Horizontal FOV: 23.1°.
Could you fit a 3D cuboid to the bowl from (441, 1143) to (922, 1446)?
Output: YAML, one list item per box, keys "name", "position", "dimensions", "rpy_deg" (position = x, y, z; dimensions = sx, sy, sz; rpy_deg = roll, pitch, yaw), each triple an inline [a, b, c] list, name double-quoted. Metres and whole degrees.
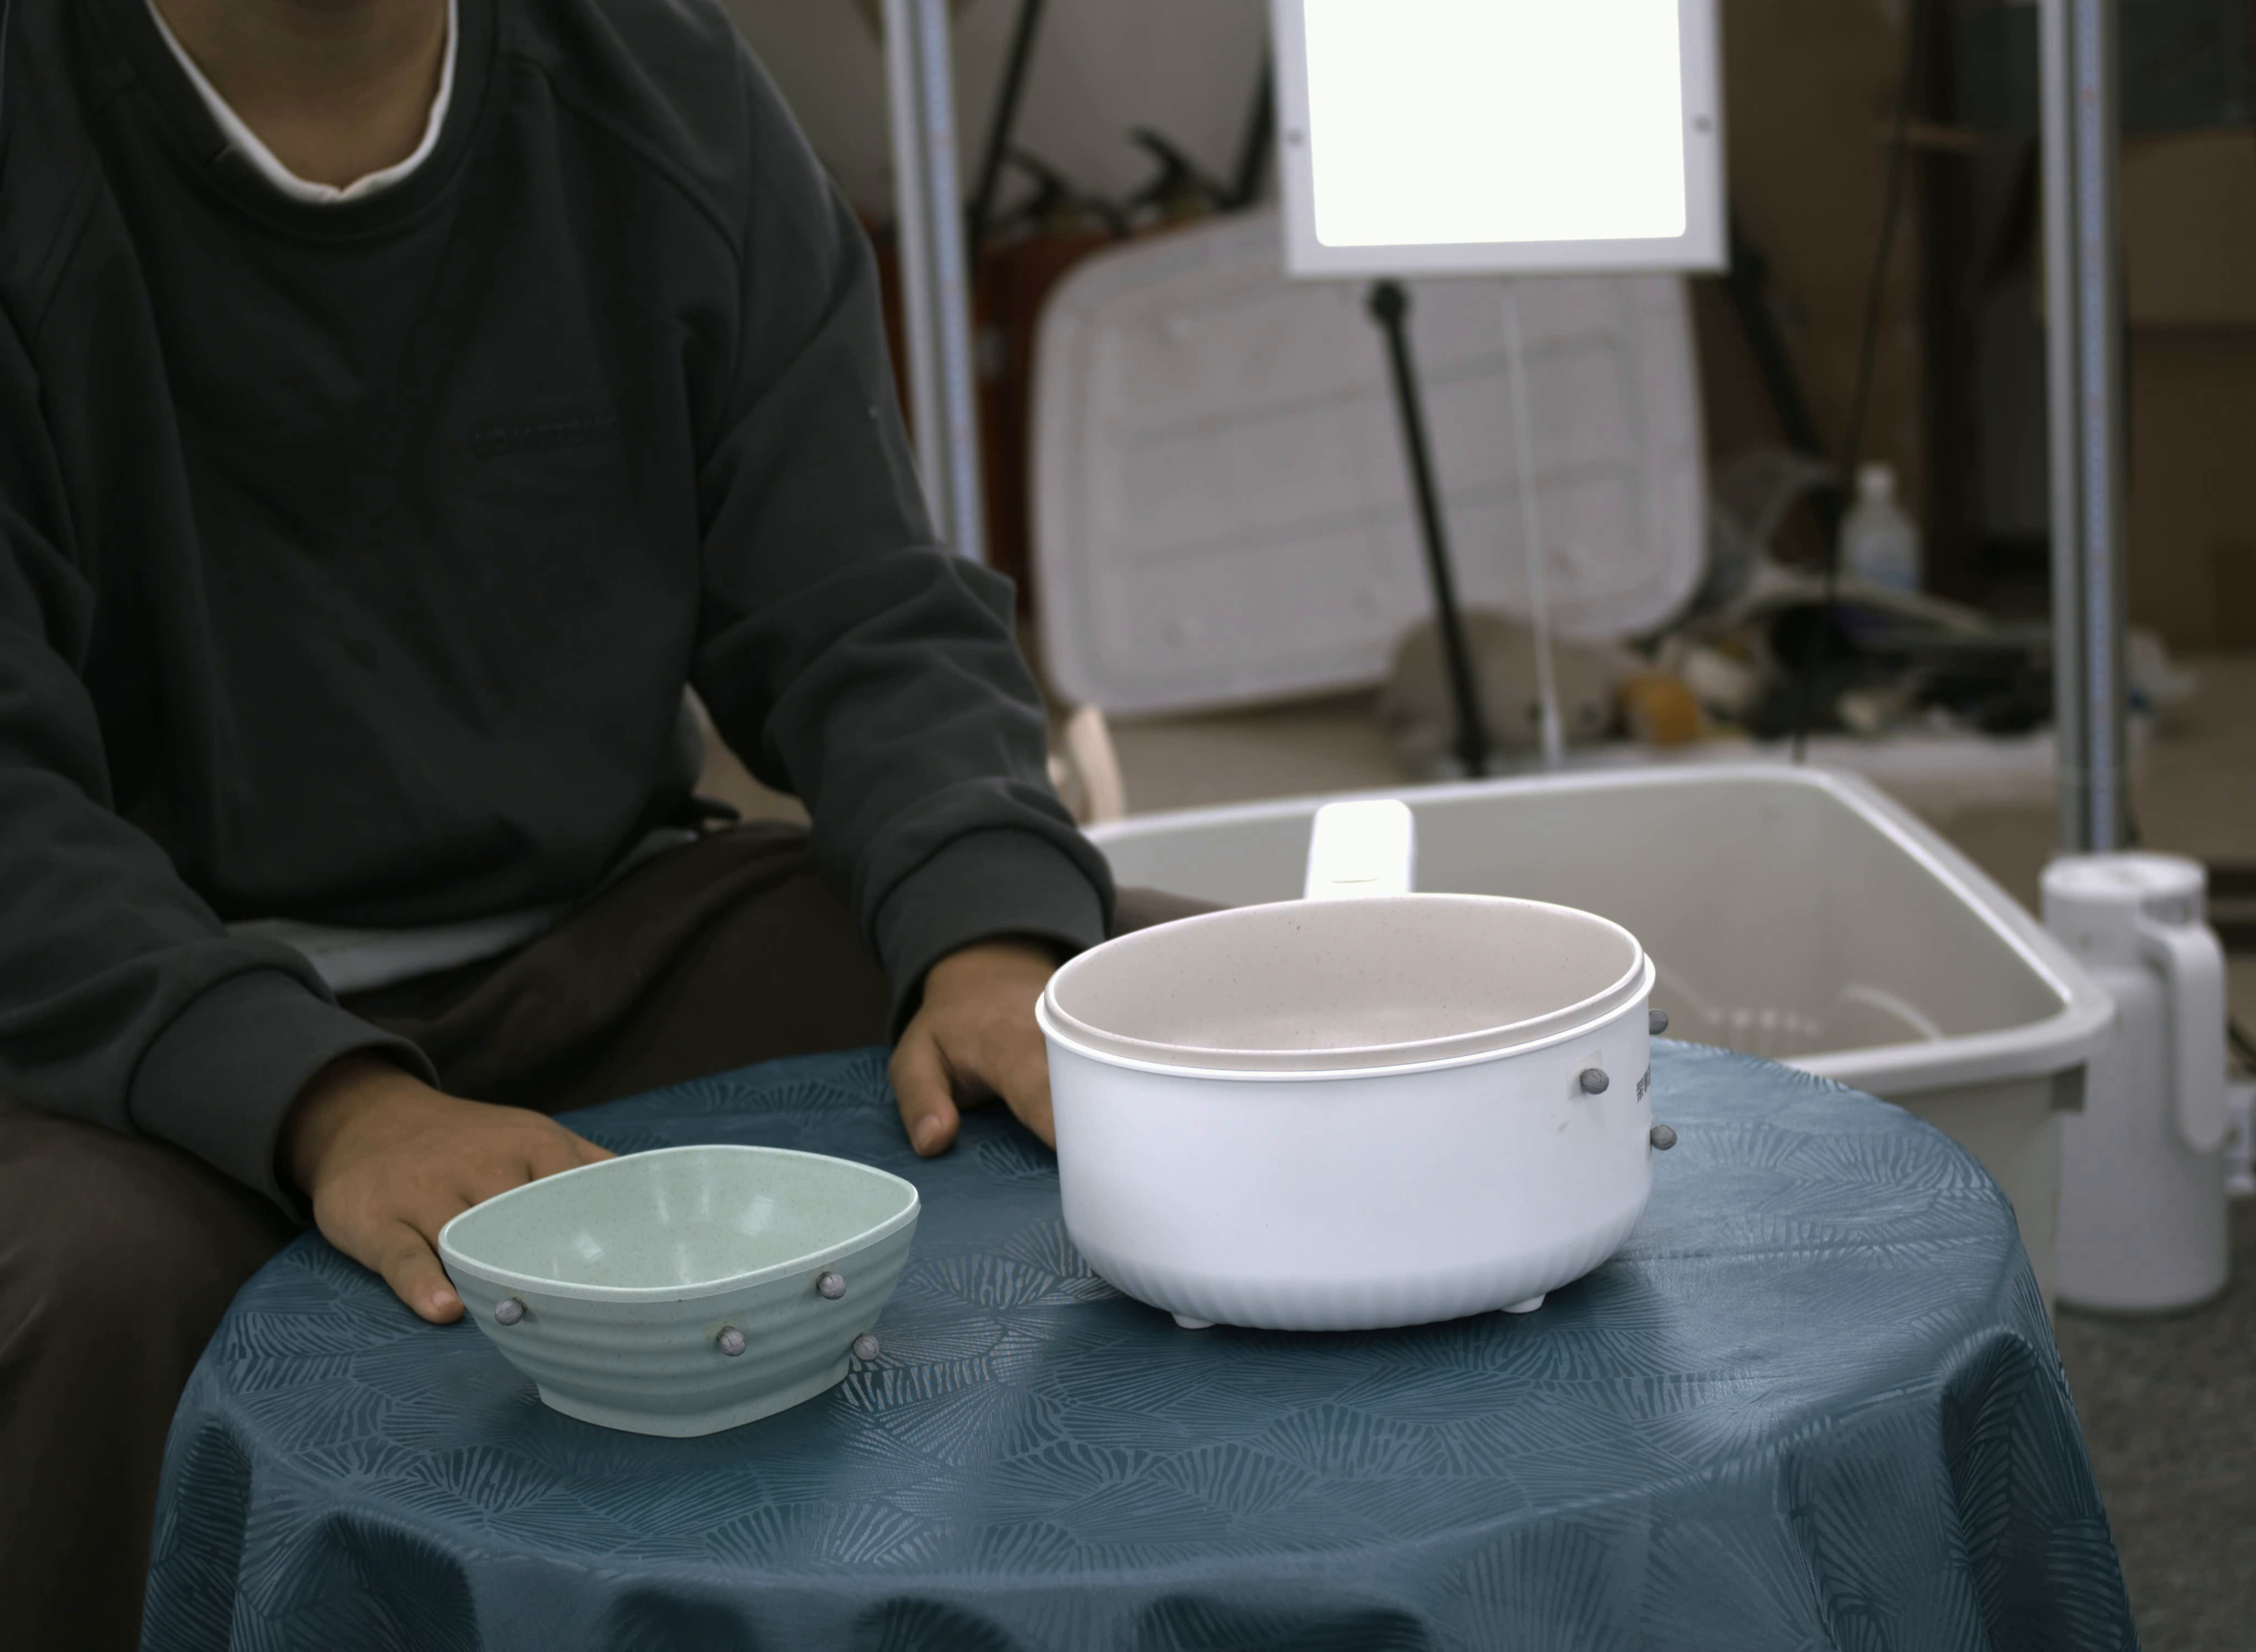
- name: "bowl"
  position: [-0.138, 0.150, 1.734]
  dimensions: [0.151, 0.059, 0.151]
  rpy_deg: [-4, 15, 0]

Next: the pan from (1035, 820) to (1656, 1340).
- name: "pan"
  position: [0.079, 0.082, 1.862]
  dimensions: [0.202, 0.102, 0.352]
  rpy_deg: [-5, 12, 5]
